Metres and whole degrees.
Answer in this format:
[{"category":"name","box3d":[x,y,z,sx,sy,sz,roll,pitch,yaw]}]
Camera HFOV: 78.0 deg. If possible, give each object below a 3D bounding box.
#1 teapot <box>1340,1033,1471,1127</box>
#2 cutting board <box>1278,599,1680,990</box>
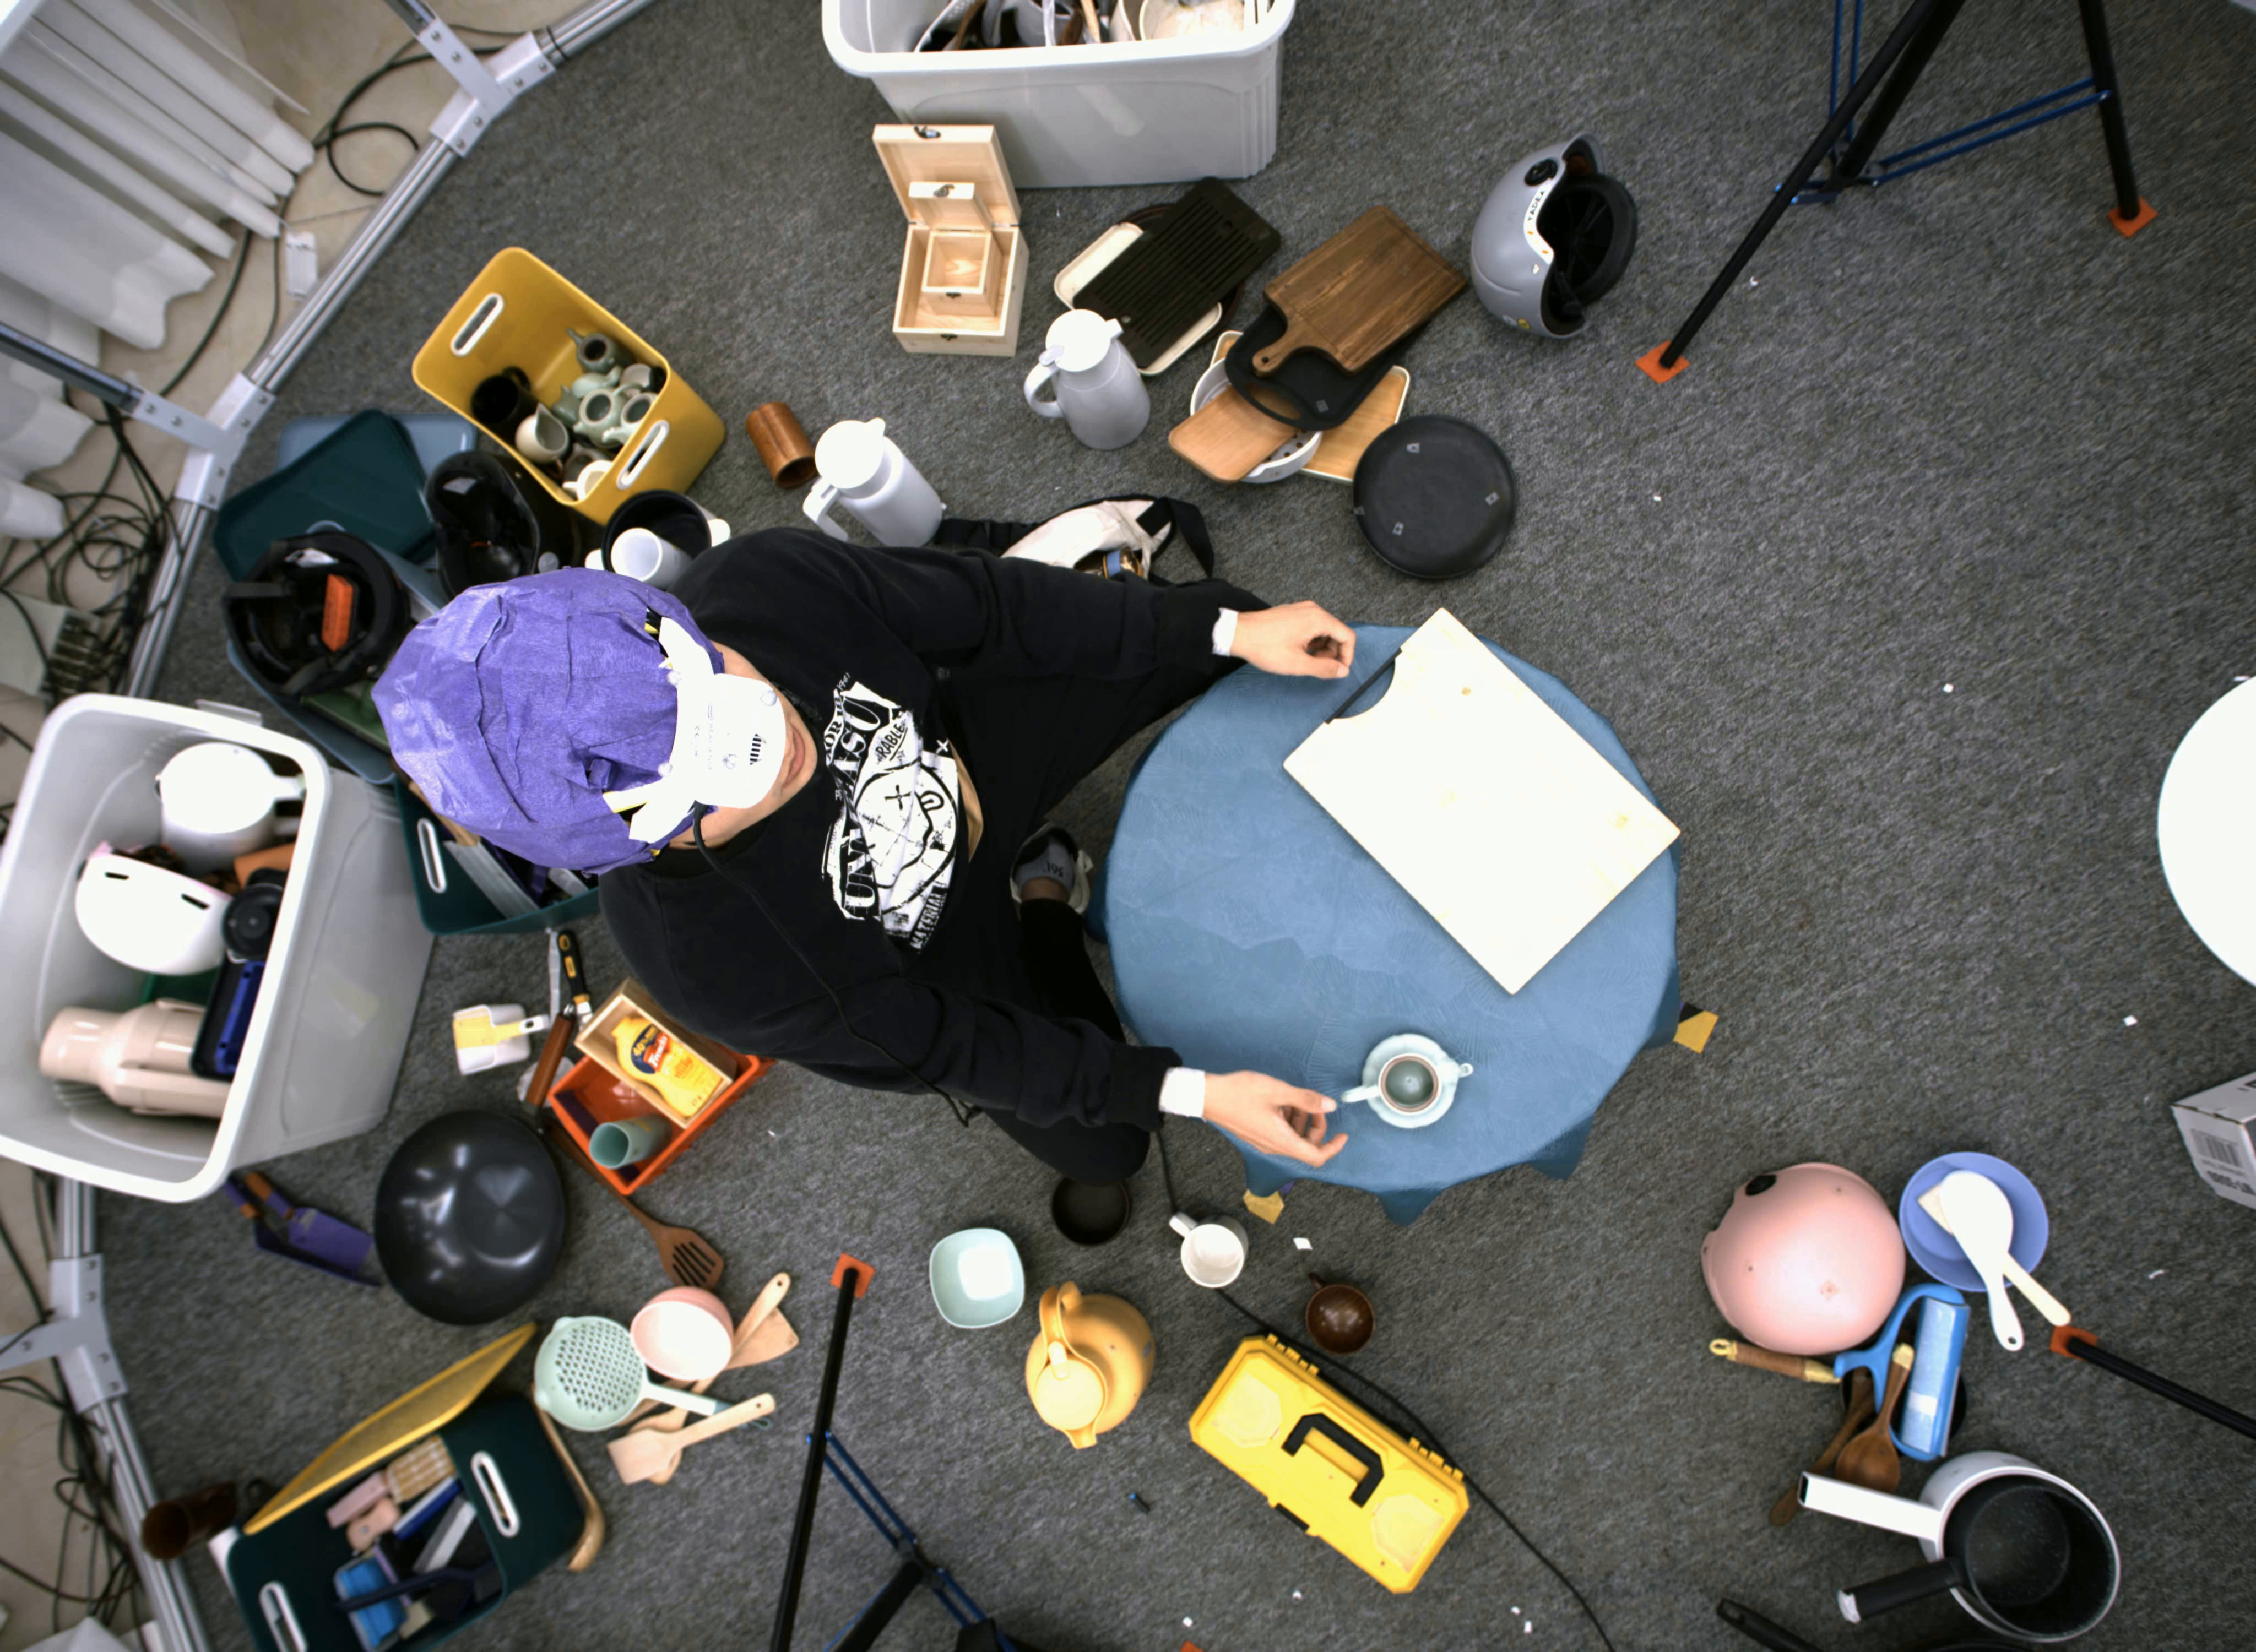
[{"category":"teapot","box3d":[0.284,0.261,1.419,0.138,0.061,0.095,-18,84,9]},{"category":"cutting board","box3d":[0.362,-0.035,1.441,0.347,0.023,0.252,45,96,10]}]
